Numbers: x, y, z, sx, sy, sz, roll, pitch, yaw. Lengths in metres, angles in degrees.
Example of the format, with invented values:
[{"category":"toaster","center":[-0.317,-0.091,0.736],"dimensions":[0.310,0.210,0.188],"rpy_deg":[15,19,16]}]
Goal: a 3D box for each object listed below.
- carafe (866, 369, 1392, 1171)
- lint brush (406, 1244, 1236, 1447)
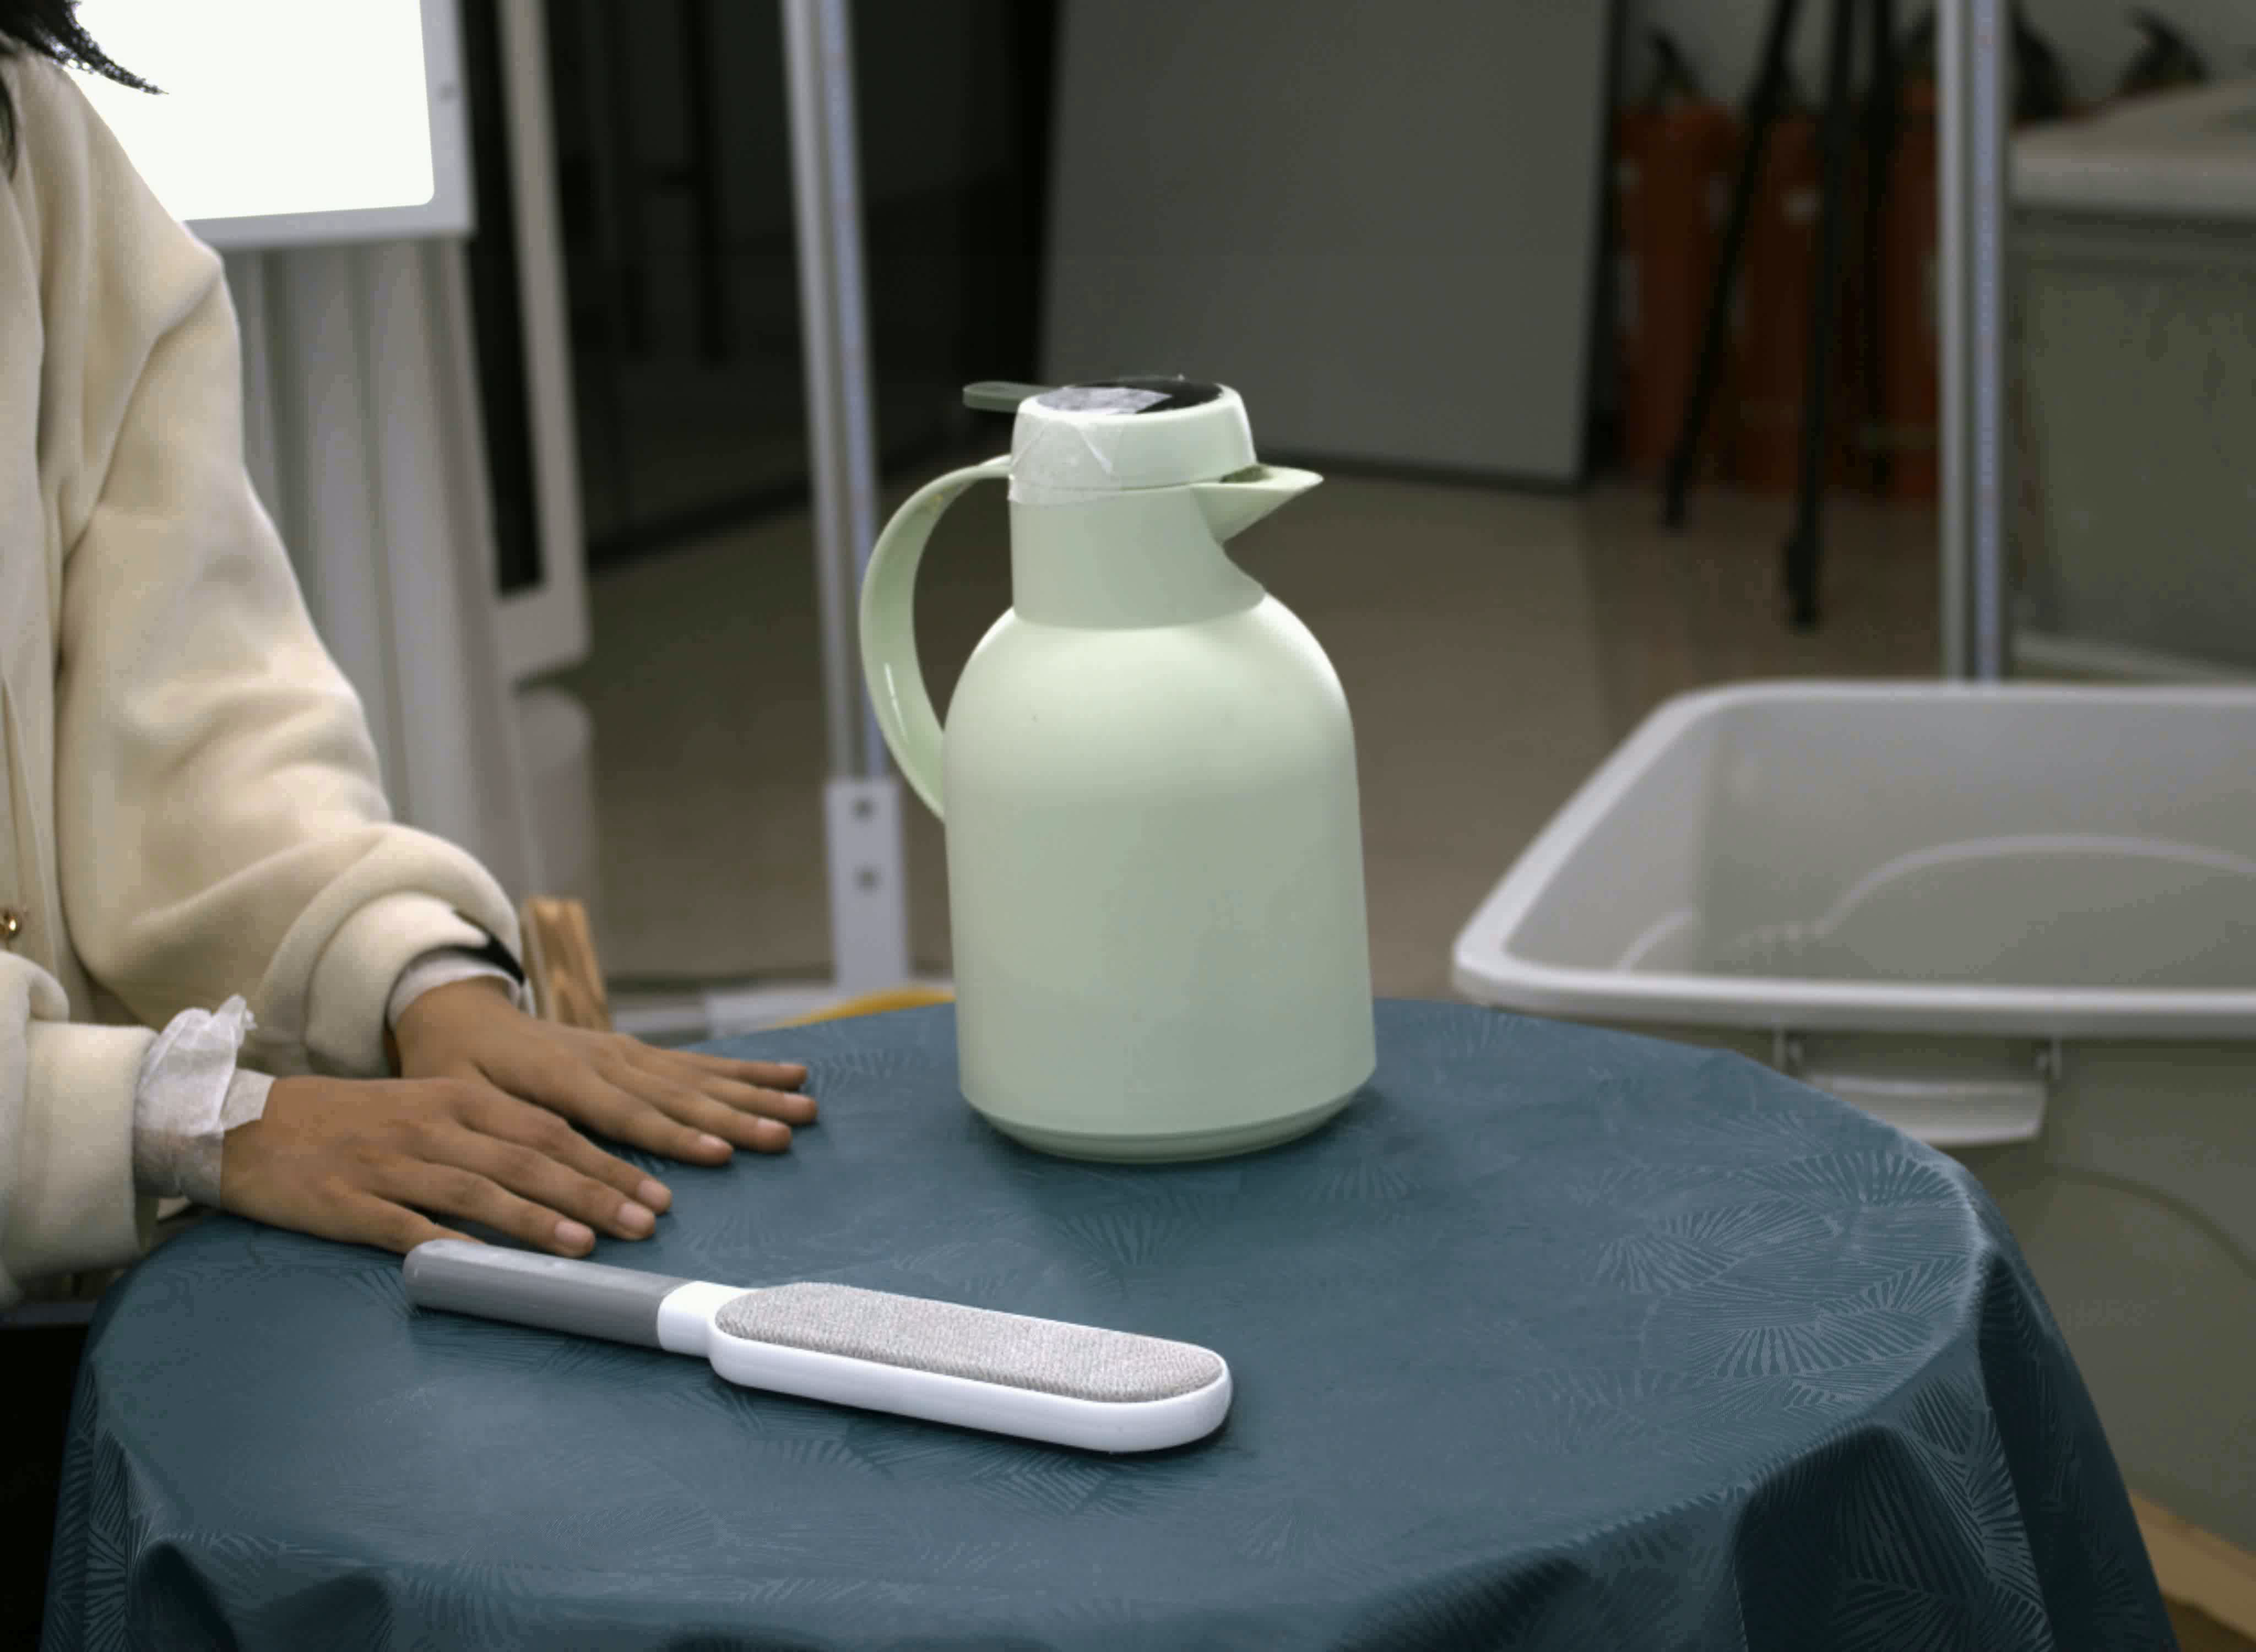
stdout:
[{"category":"carafe","center":[-0.003,-0.023,1.834],"dimensions":[0.188,0.259,0.142],"rpy_deg":[1,15,37]},{"category":"lint brush","center":[-0.099,0.153,1.622],"dimensions":[0.311,0.021,0.059],"rpy_deg":[5,19,36]}]
